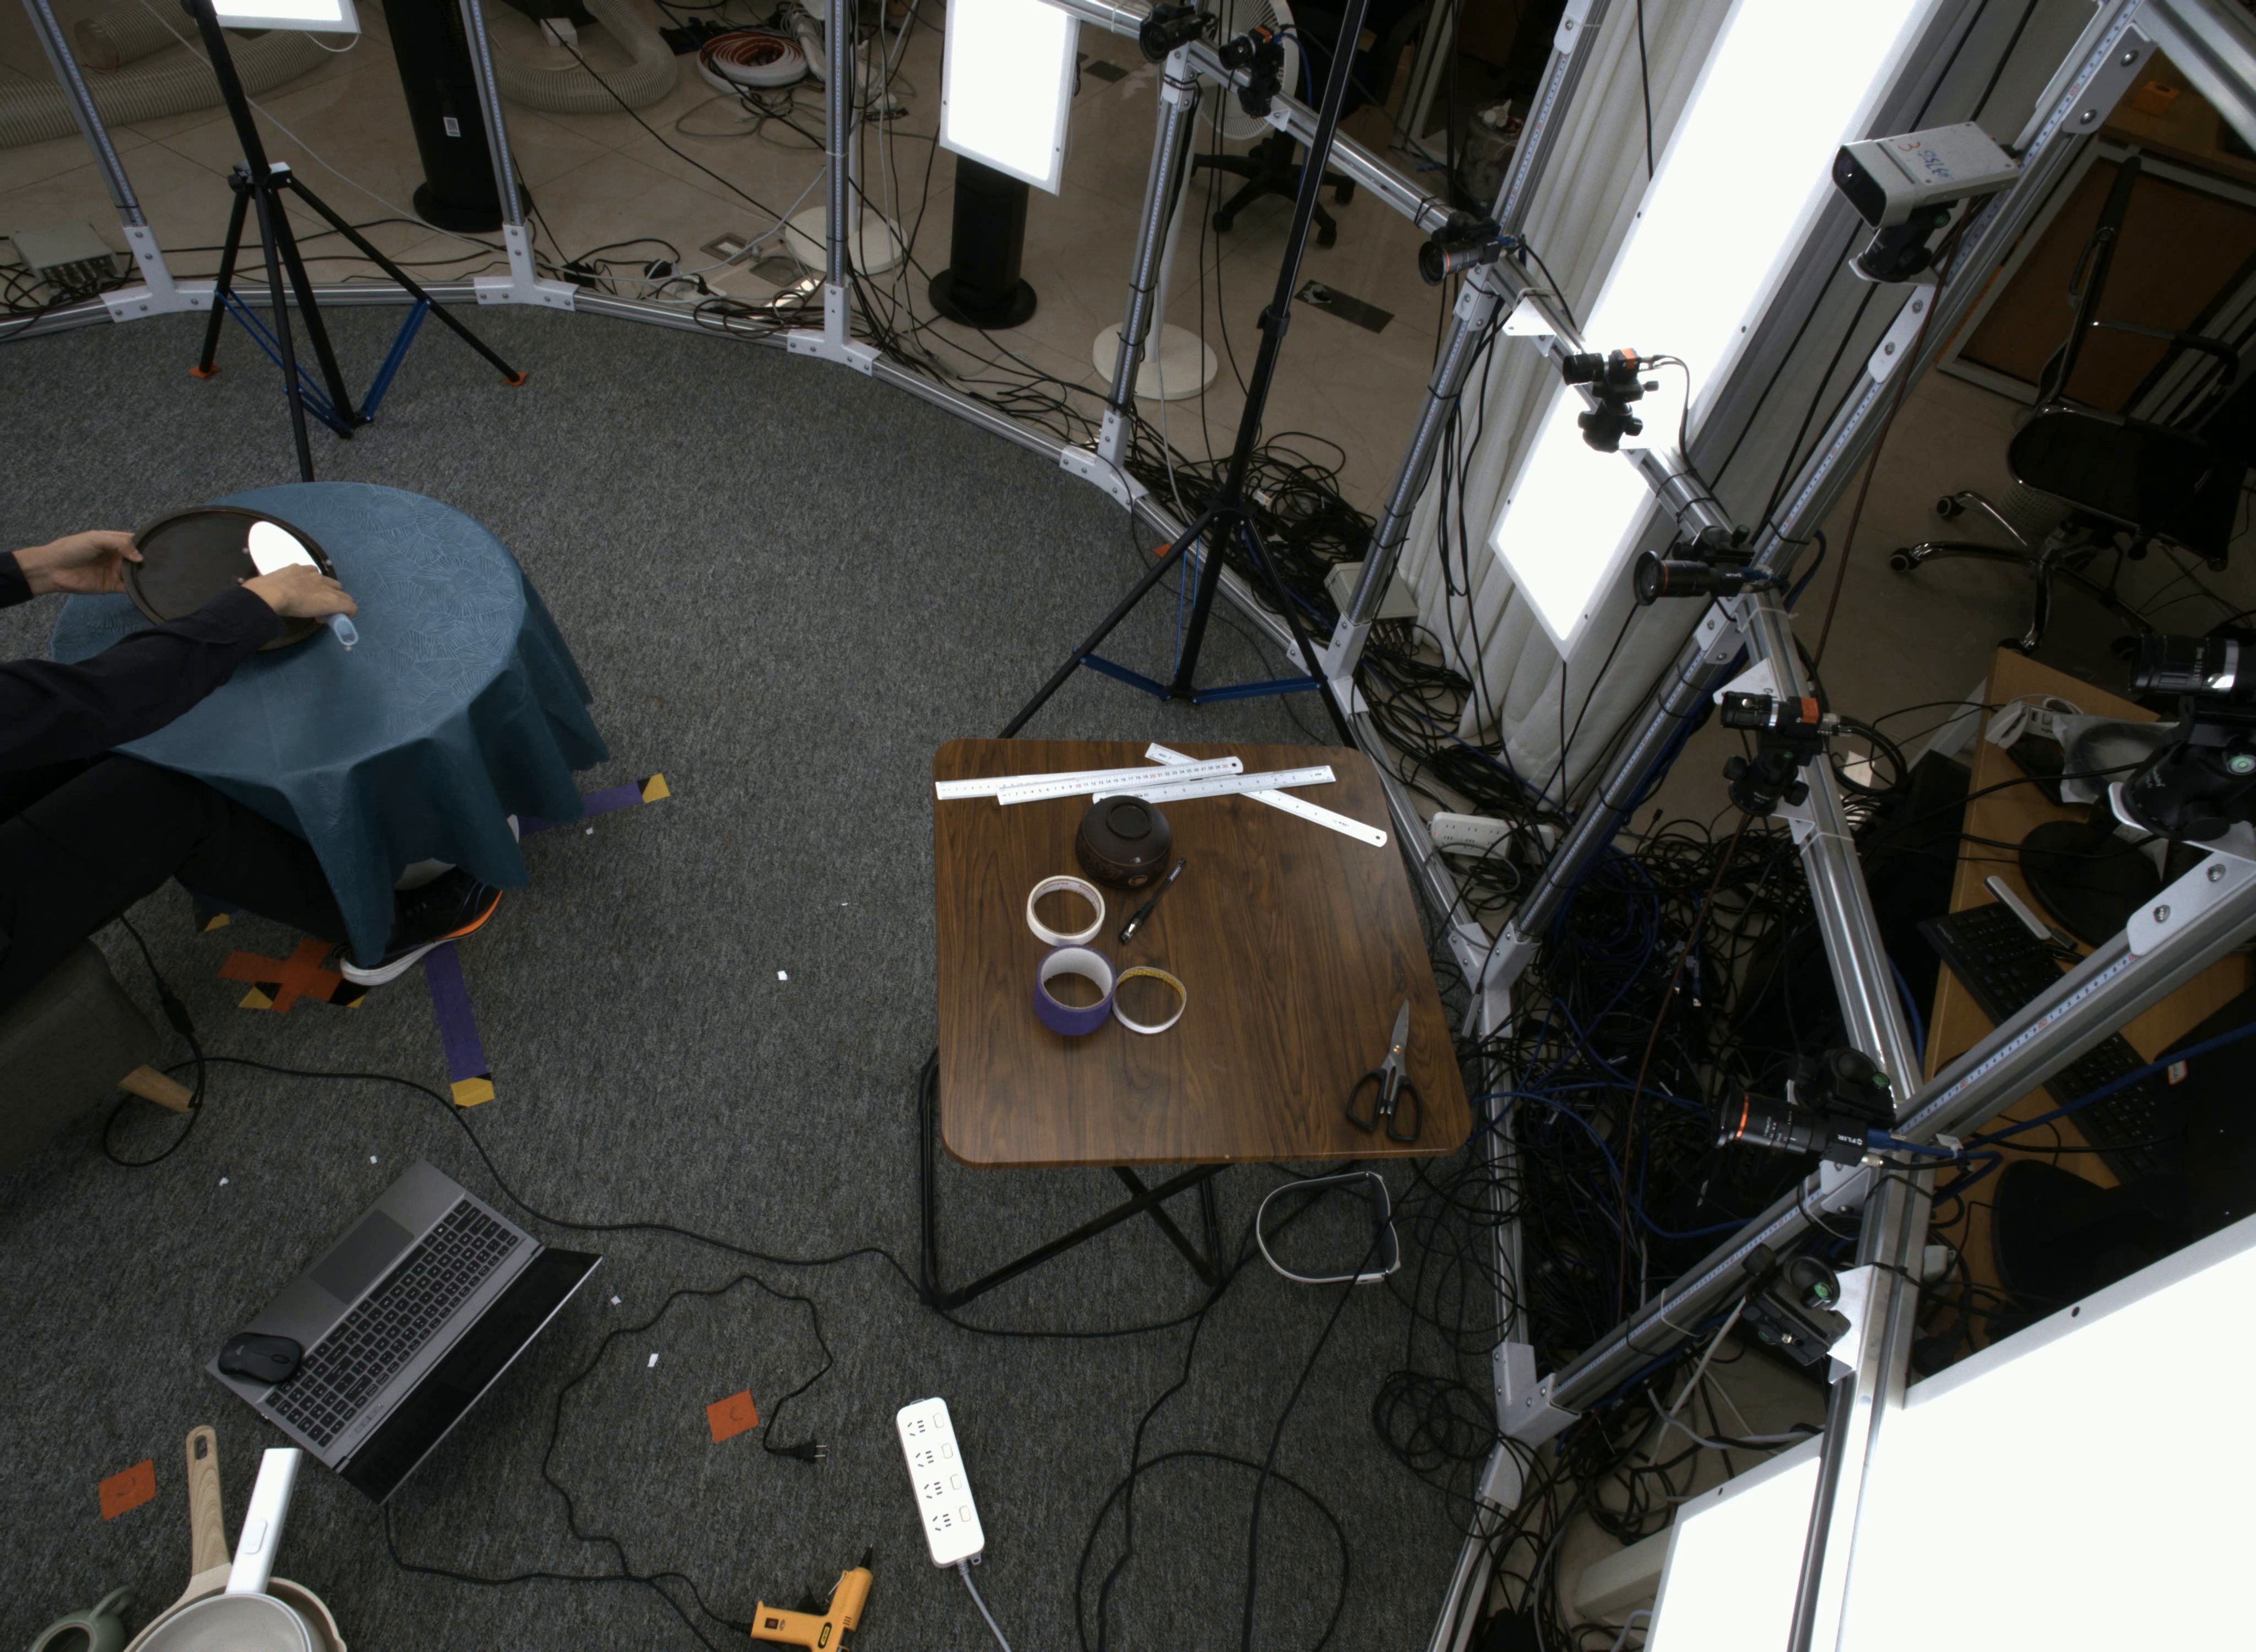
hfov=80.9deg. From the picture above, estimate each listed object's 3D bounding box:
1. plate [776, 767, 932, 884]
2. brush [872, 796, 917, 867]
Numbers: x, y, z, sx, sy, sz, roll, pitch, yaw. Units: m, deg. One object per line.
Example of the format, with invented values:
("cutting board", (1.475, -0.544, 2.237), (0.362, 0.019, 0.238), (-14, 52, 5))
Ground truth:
("plate", (-0.439, 0.000, 2.083), (0.256, 0.029, 0.249), (19, 38, -14))
("brush", (-0.359, 0.033, 1.977), (0.083, 0.087, 0.317), (-35, 20, 2))
